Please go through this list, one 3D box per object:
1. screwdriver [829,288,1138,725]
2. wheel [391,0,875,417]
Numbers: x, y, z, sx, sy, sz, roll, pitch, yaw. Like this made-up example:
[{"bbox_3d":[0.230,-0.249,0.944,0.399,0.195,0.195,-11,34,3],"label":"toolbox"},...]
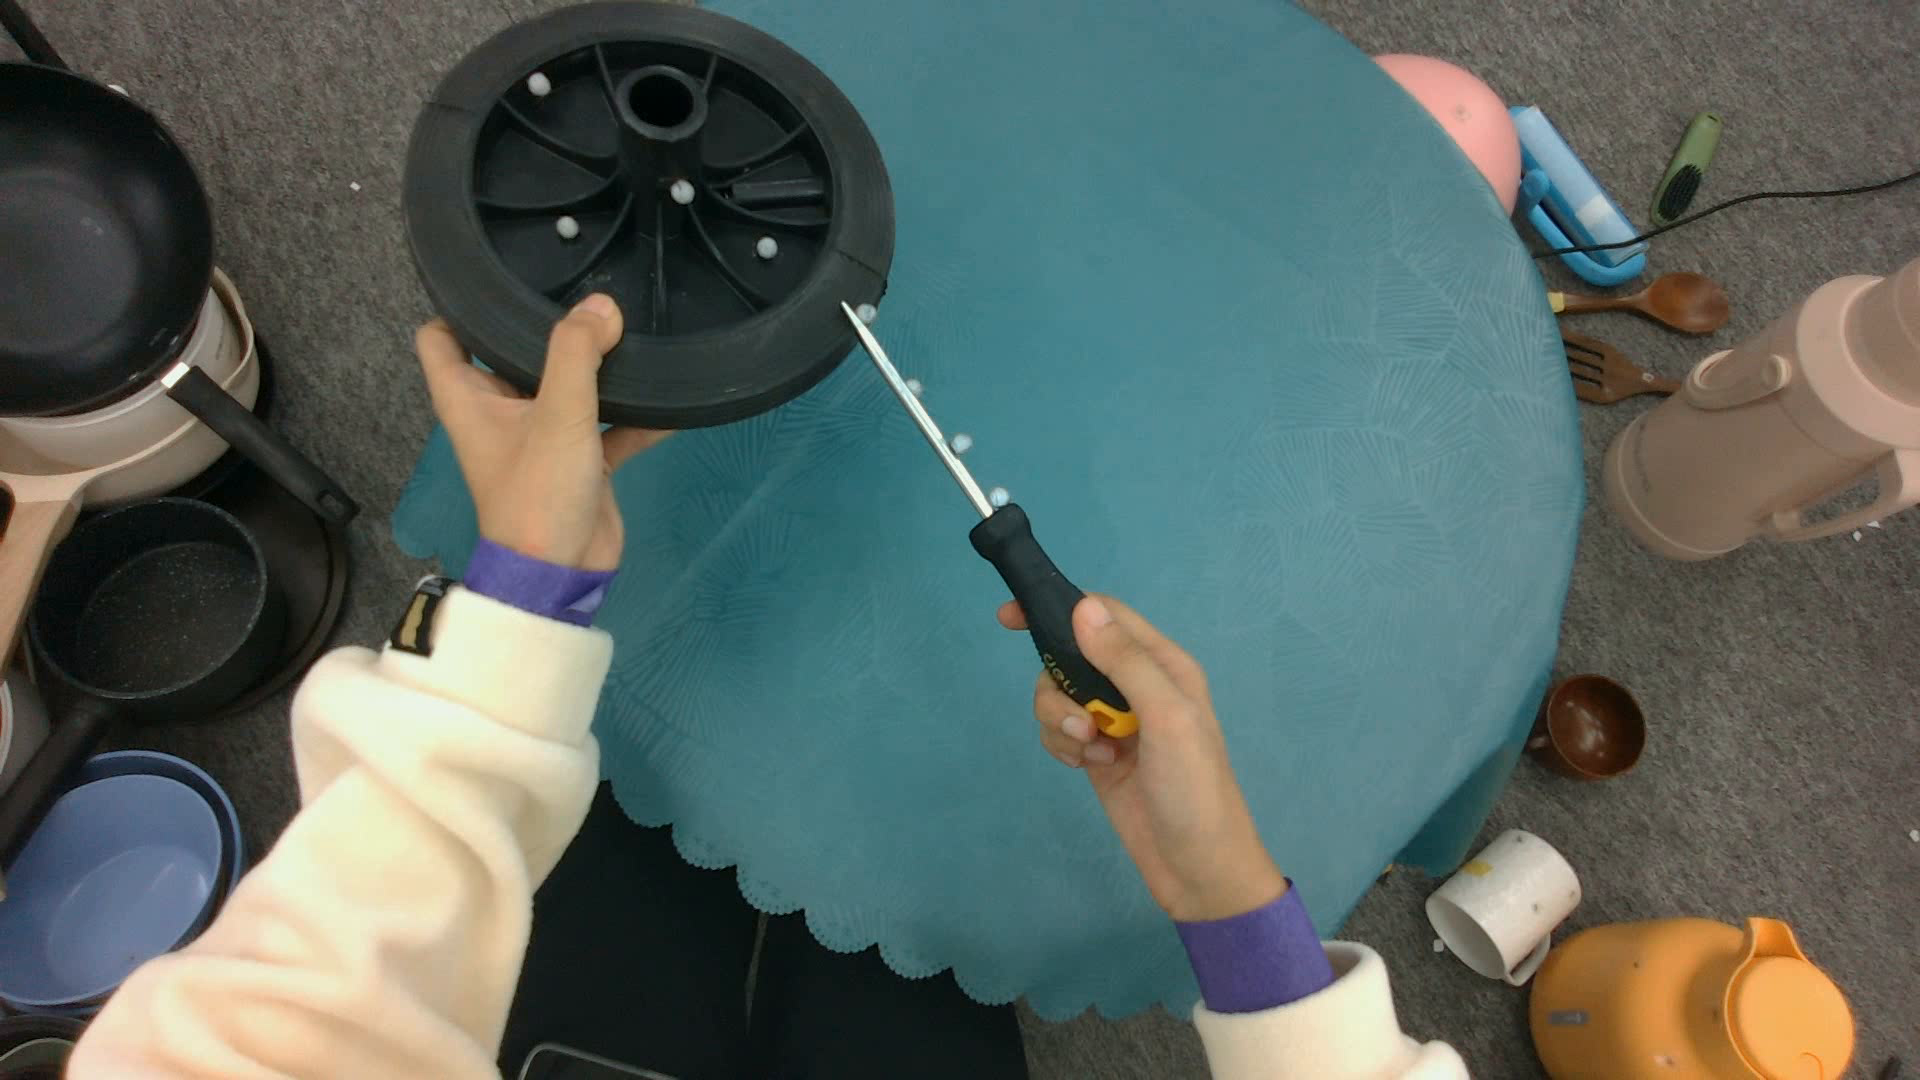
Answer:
[{"bbox_3d":[0.004,-0.014,0.530,0.031,0.031,0.198,-33,83,-18],"label":"screwdriver"},{"bbox_3d":[-0.120,-0.145,0.532,0.190,0.079,0.187,-34,80,-26],"label":"wheel"}]
